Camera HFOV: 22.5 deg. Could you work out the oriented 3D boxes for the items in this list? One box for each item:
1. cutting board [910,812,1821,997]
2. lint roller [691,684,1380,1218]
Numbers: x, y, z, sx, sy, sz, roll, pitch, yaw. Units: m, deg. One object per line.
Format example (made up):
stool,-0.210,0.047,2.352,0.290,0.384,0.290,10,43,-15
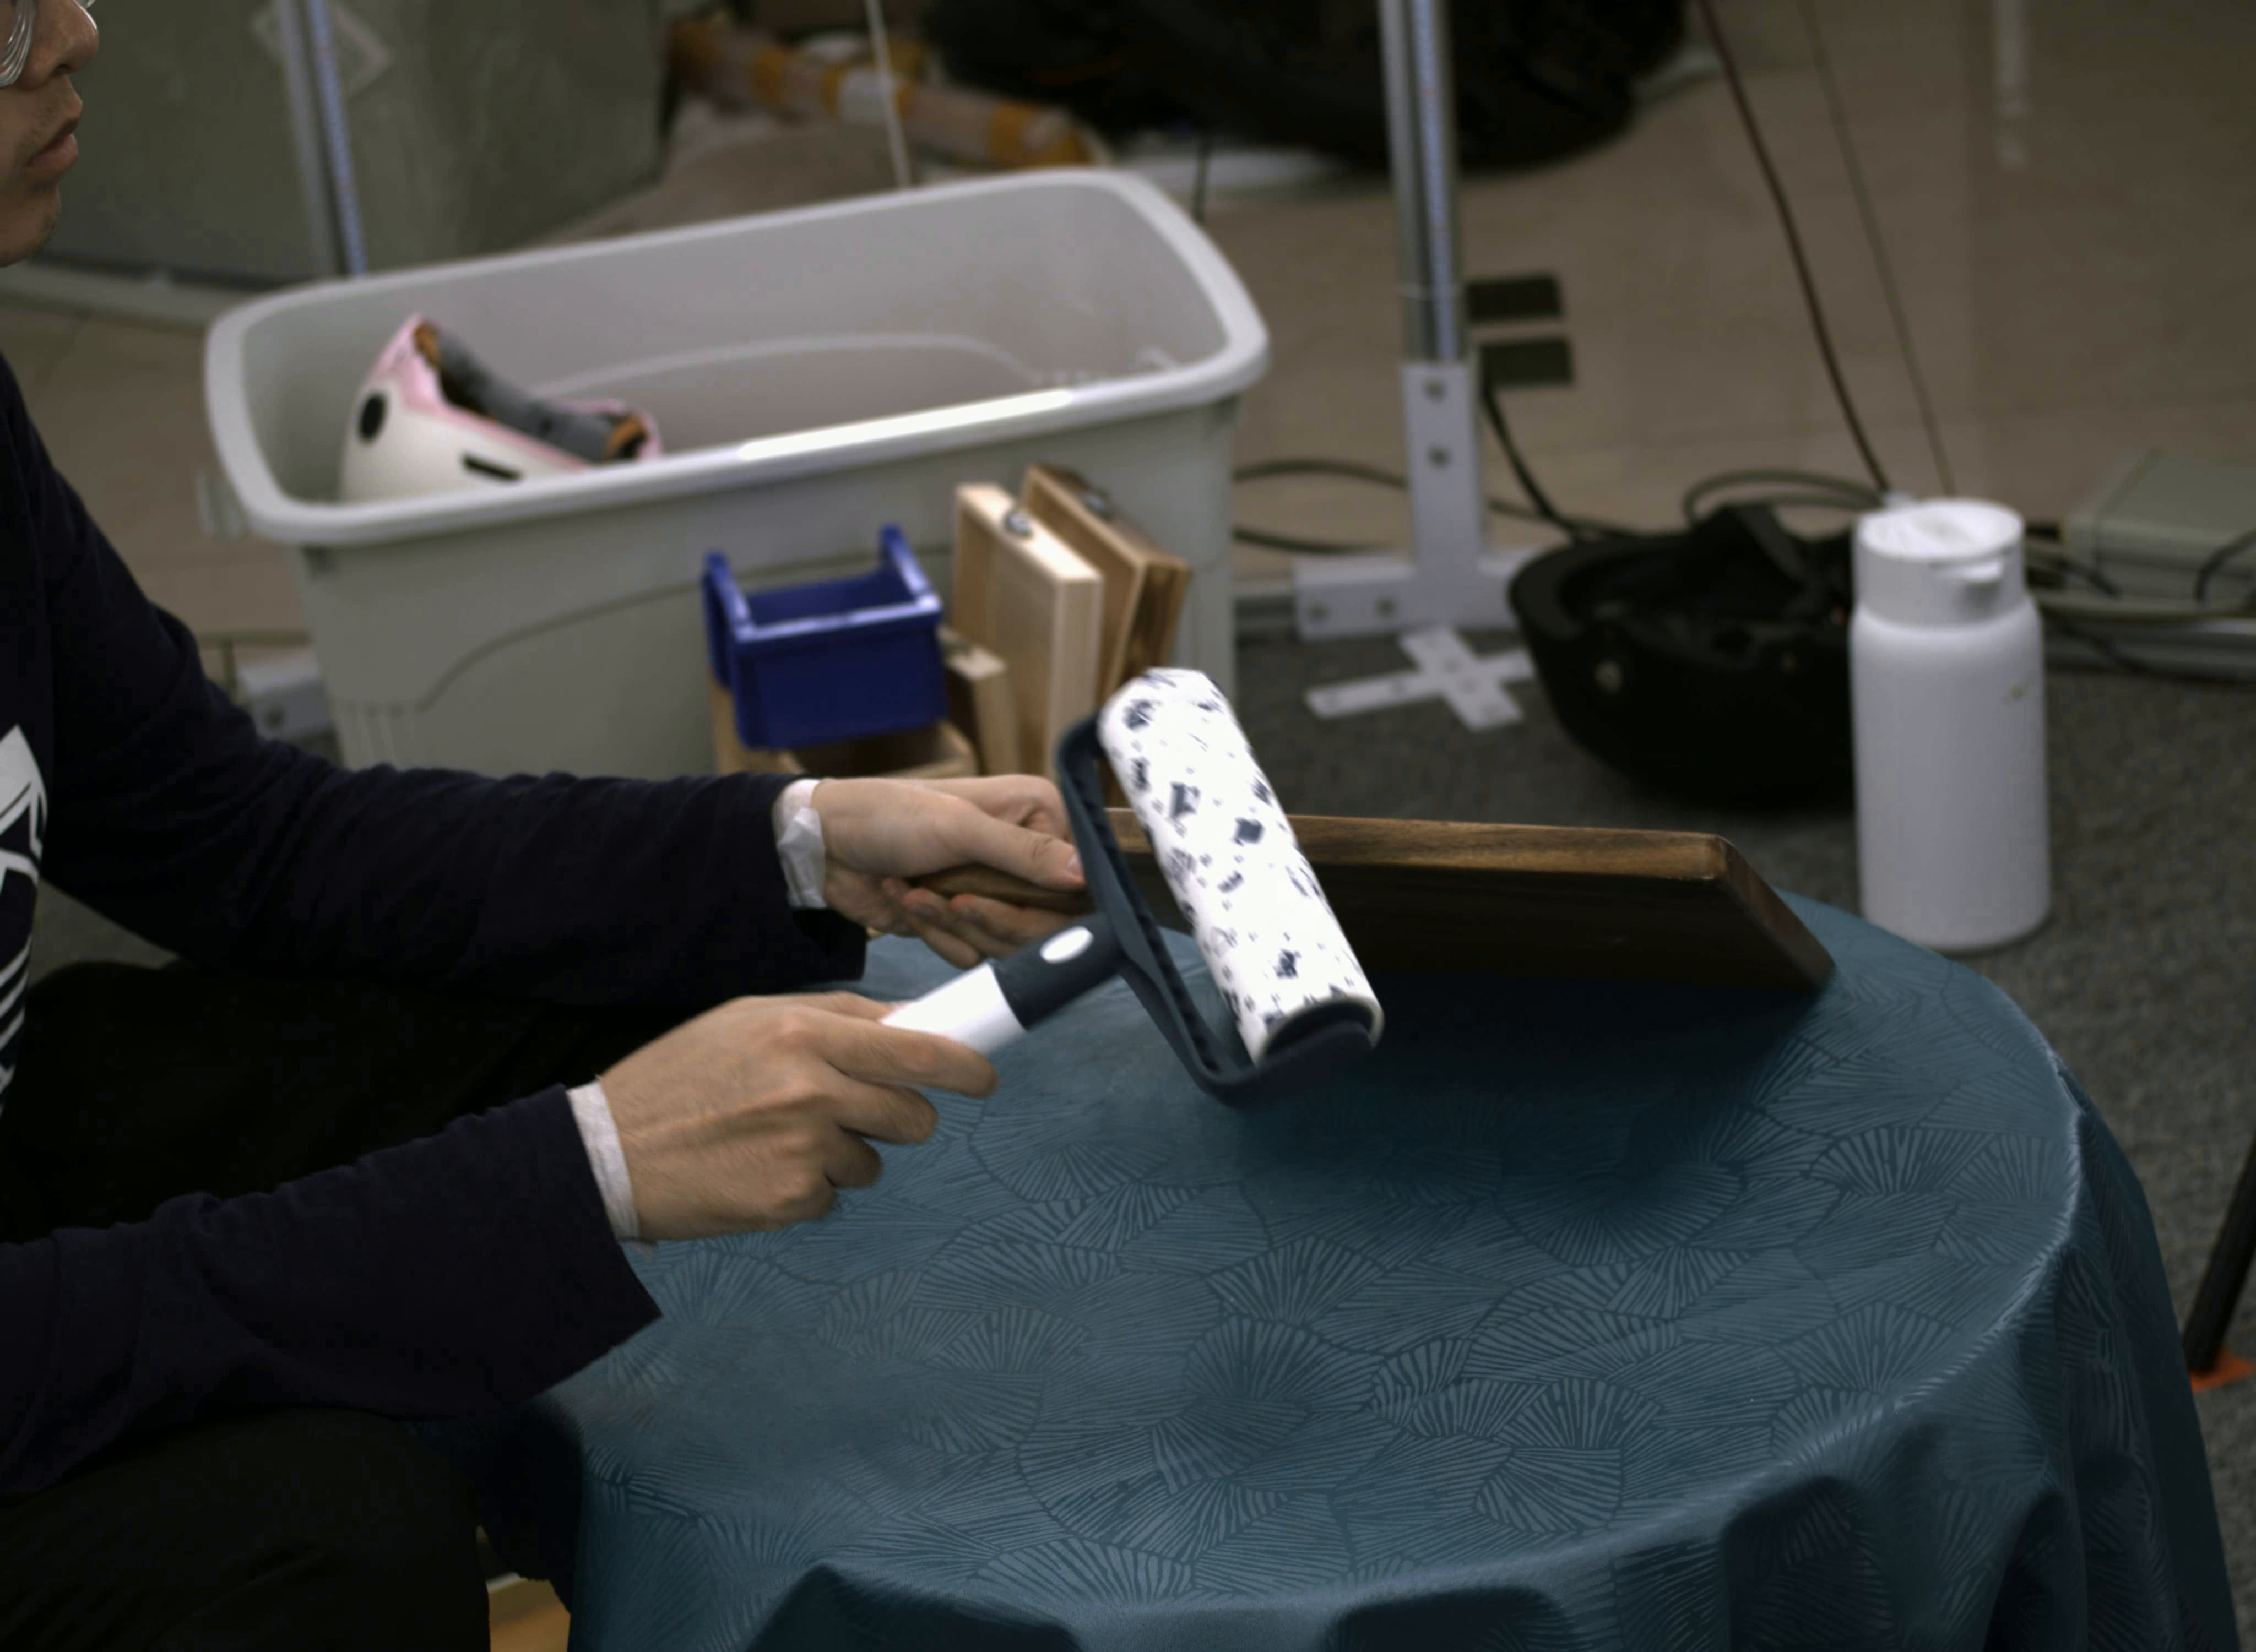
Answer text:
cutting board,0.082,0.027,2.208,0.351,0.023,0.202,3,-13,19
lint roller,-0.047,0.069,2.001,0.247,0.051,0.173,-28,54,4
